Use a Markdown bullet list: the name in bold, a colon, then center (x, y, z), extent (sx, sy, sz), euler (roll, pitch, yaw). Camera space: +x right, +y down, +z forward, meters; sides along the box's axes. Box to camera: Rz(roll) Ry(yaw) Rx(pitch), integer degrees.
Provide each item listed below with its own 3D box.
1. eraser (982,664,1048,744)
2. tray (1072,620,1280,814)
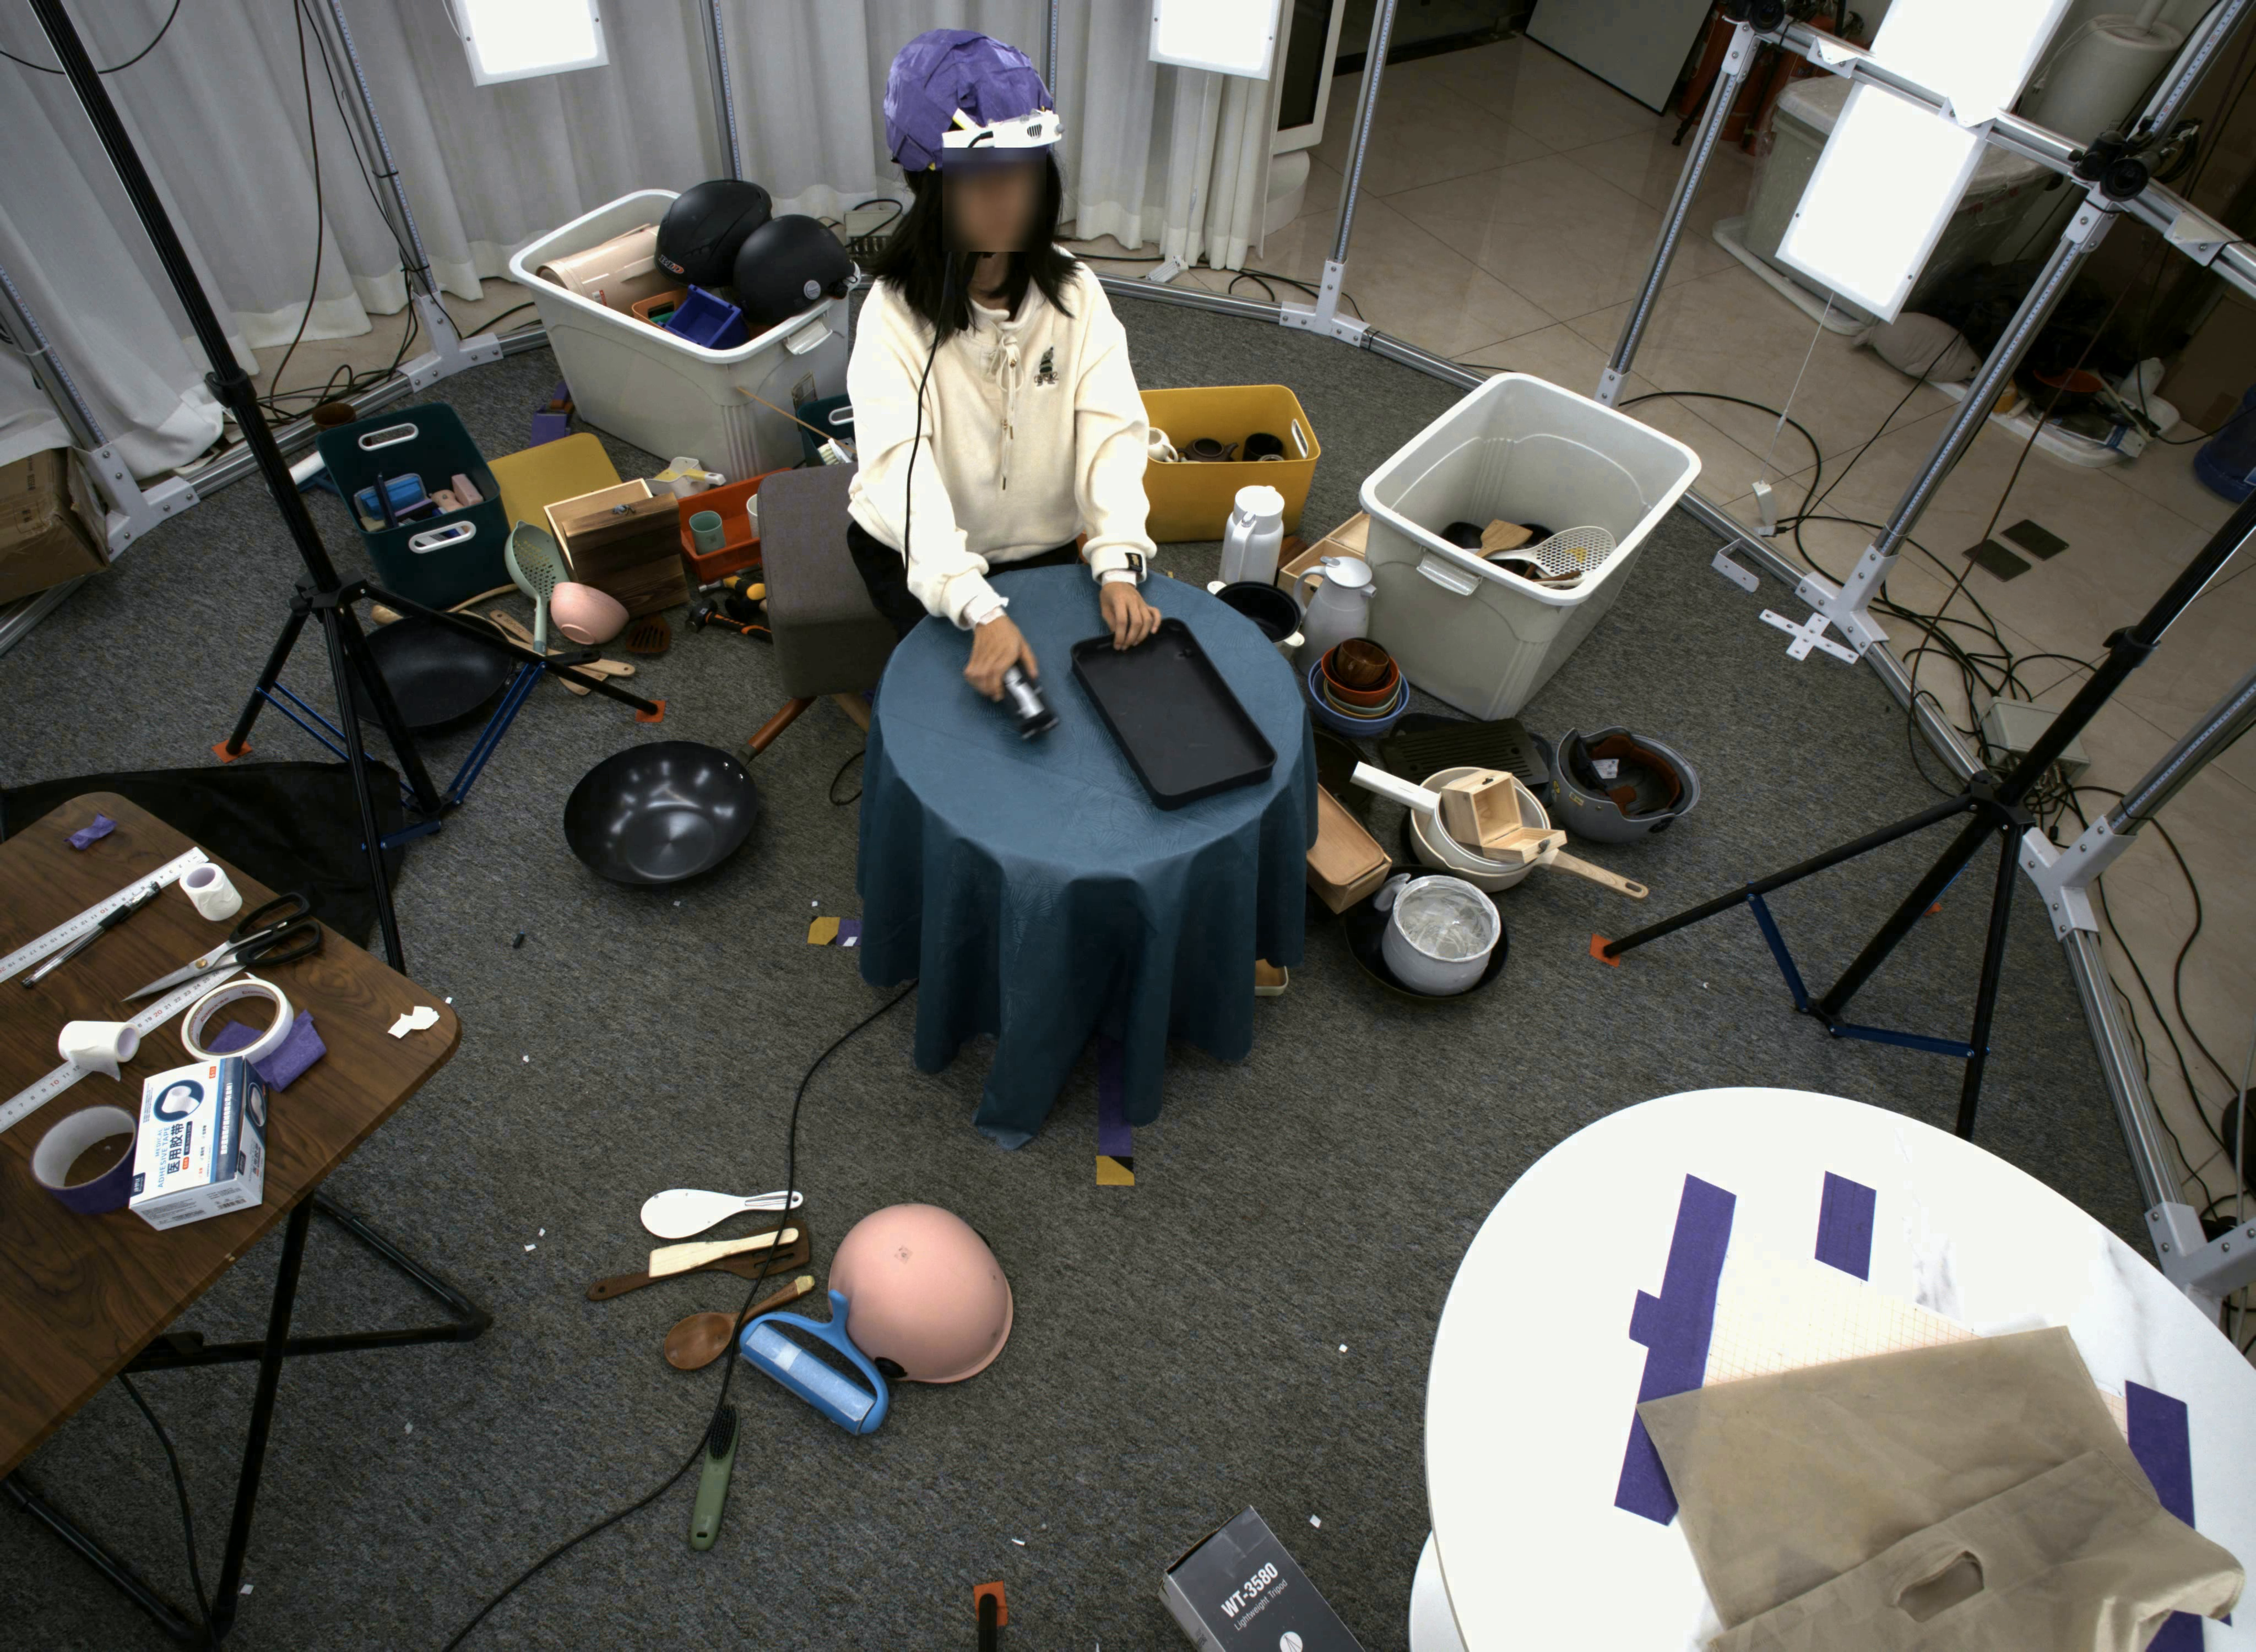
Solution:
- **eraser**: center (-0.155, -0.169, 1.771), extent (0.053, 0.030, 0.128), euler (-17, 52, -14)
- **tray**: center (0.061, -0.159, 1.787), extent (0.184, 0.036, 0.325), euler (-17, 52, -18)
